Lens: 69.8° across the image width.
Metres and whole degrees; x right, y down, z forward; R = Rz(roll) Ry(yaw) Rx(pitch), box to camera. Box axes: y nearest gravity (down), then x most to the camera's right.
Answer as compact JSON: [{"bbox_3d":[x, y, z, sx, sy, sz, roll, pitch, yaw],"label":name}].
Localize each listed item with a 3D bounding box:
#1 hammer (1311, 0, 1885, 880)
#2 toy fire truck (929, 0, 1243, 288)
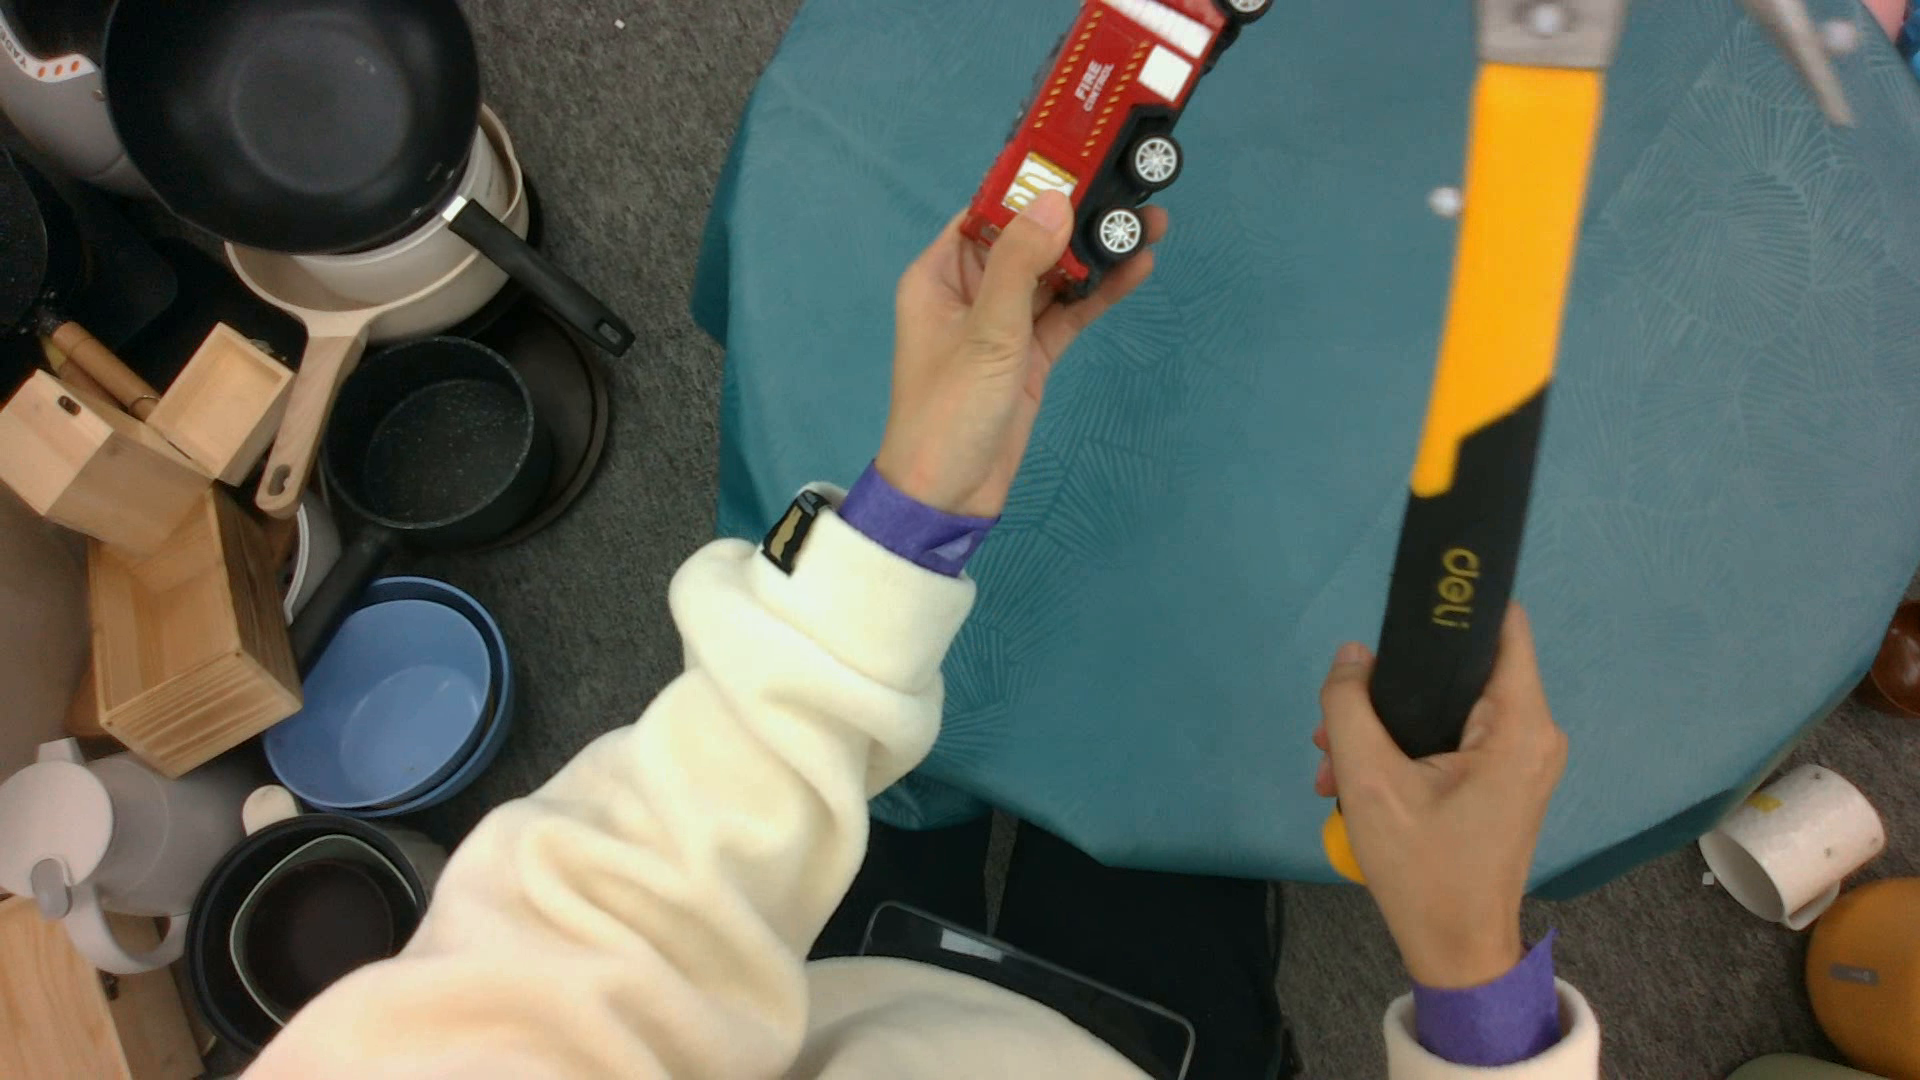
[{"bbox_3d":[0.148,-0.021,0.401,0.131,0.337,0.032,11,37,14],"label":"hammer"},{"bbox_3d":[0.051,-0.168,0.463,0.070,0.054,0.168,28,88,-9],"label":"toy fire truck"}]
